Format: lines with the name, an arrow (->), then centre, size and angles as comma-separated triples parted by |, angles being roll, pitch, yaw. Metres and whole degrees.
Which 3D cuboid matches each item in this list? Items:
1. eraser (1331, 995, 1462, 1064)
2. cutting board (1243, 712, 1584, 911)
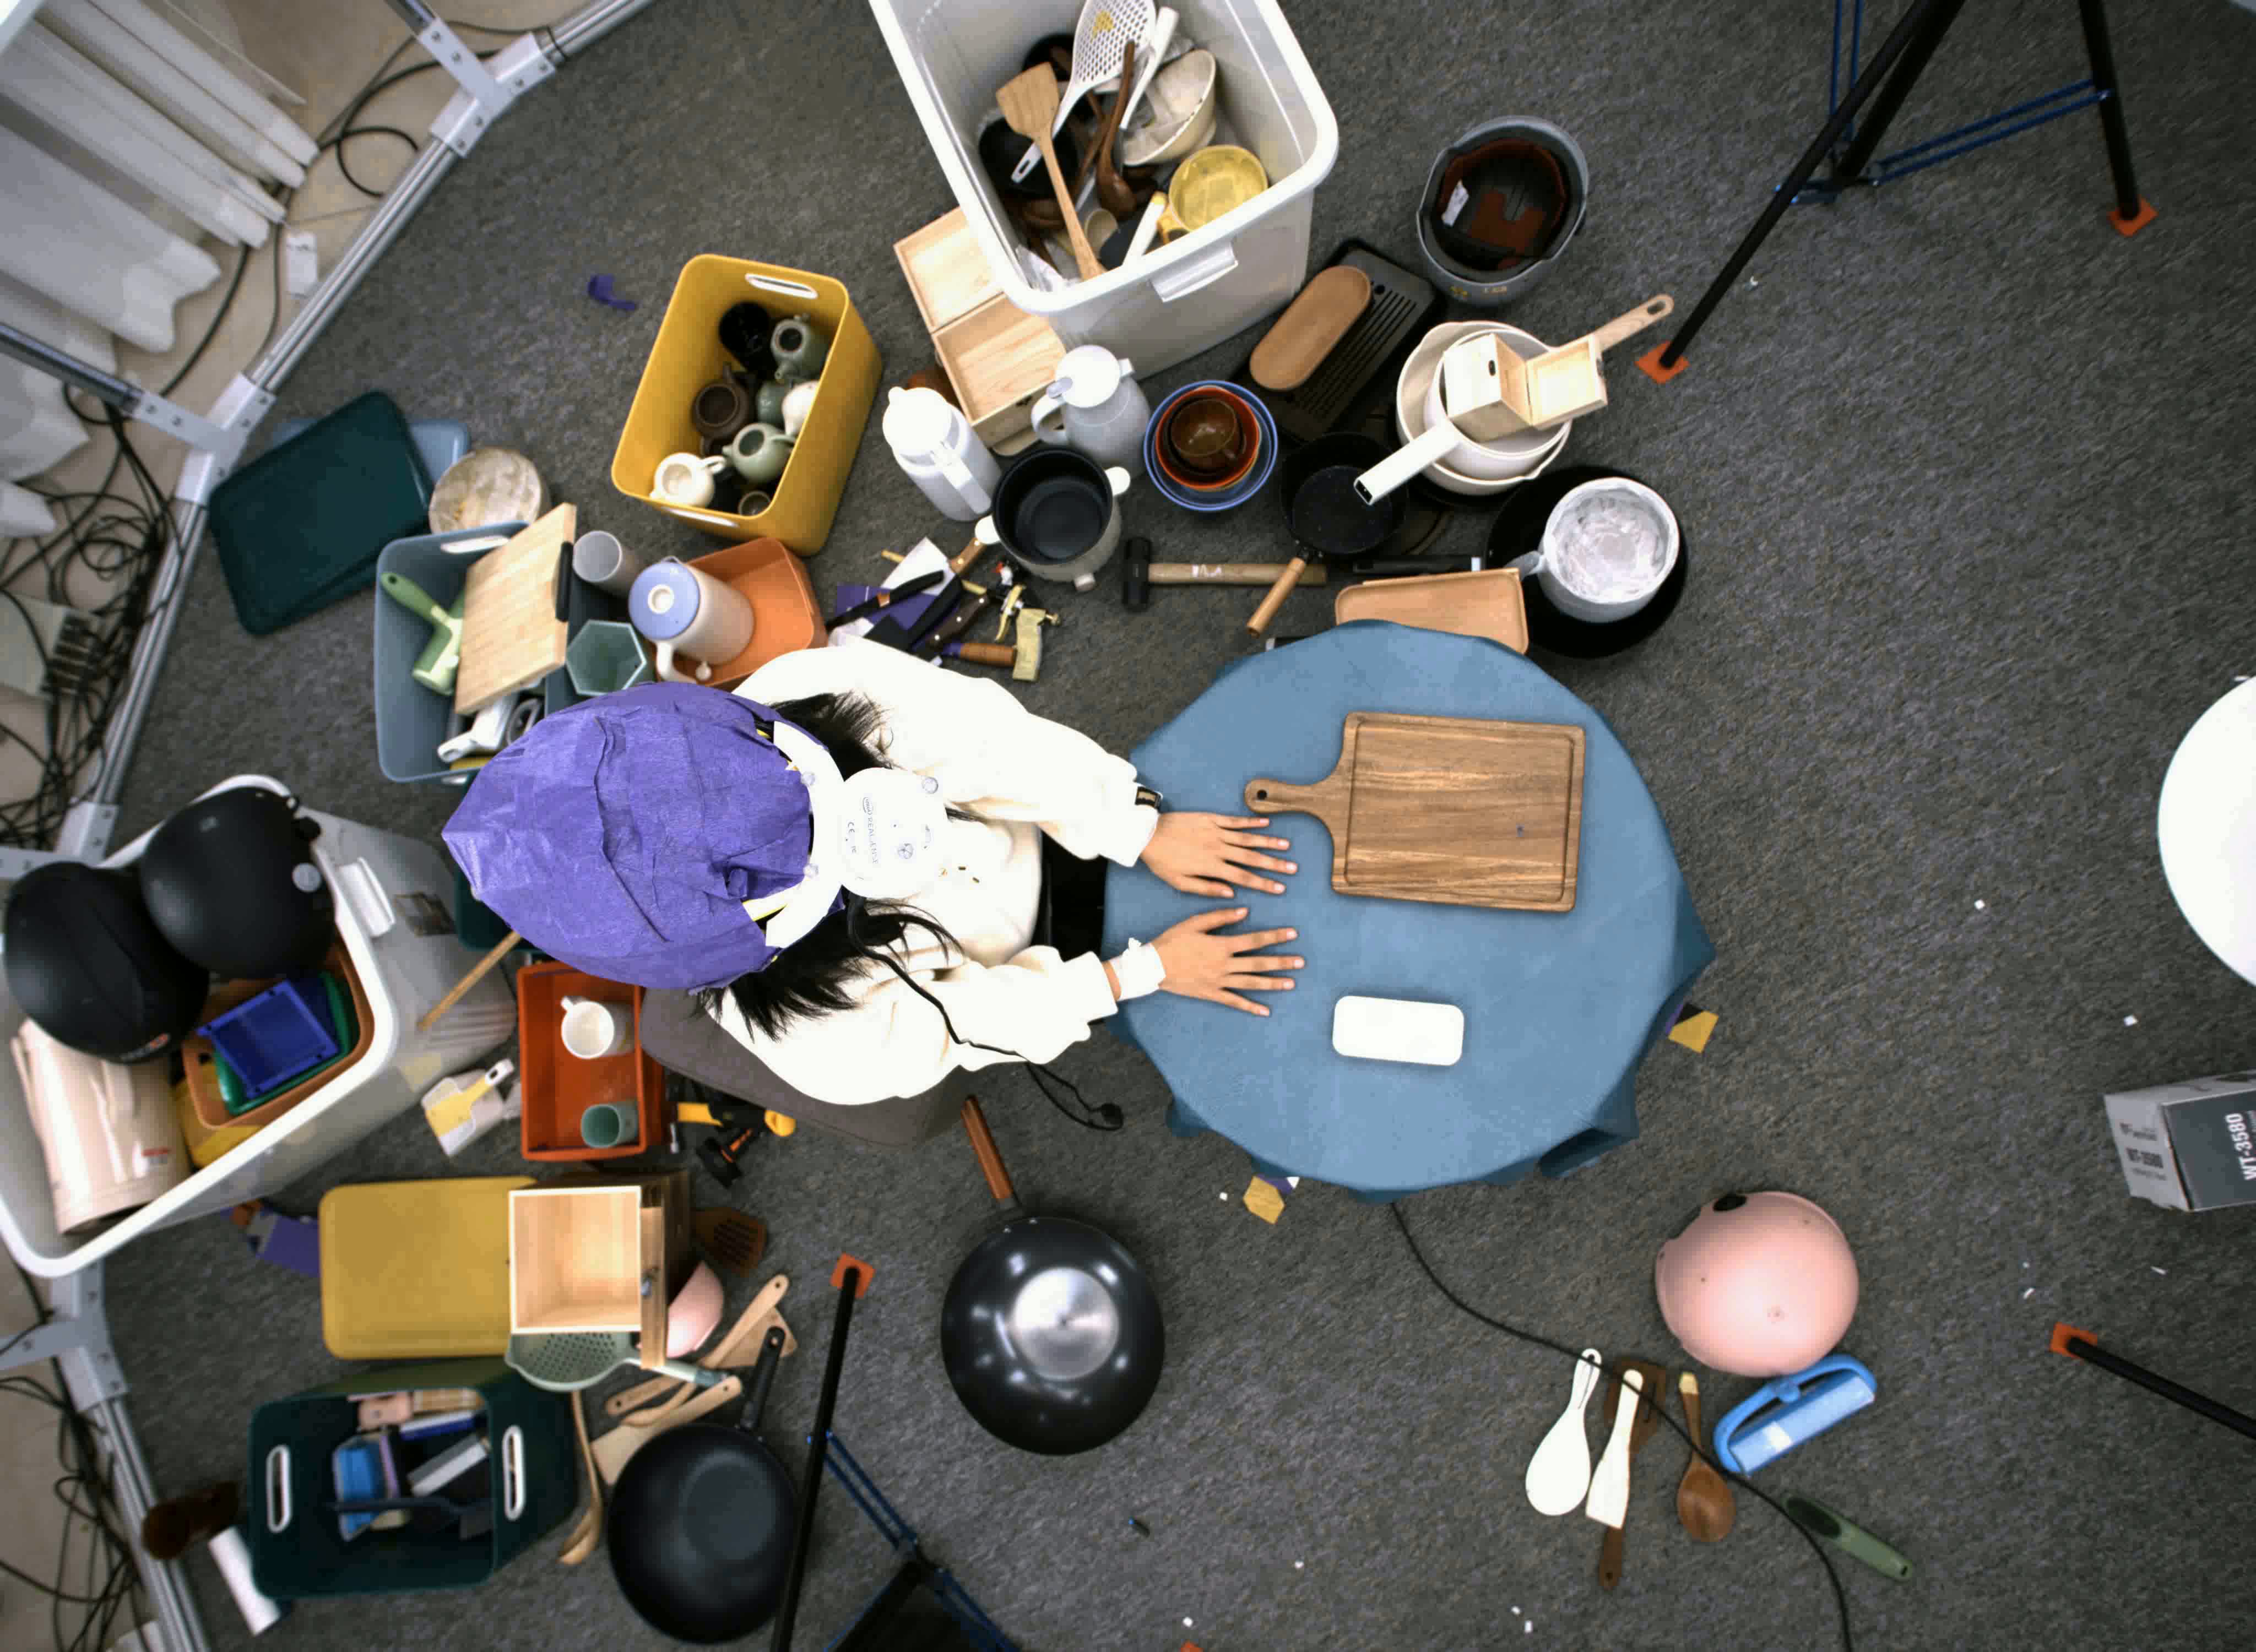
eraser -> 0.279, 0.208, 1.435 | 0.131, 0.034, 0.063 | 6, 88, 10
cutting board -> 0.297, -0.021, 1.449 | 0.353, 0.023, 0.200 | 4, 87, 11
